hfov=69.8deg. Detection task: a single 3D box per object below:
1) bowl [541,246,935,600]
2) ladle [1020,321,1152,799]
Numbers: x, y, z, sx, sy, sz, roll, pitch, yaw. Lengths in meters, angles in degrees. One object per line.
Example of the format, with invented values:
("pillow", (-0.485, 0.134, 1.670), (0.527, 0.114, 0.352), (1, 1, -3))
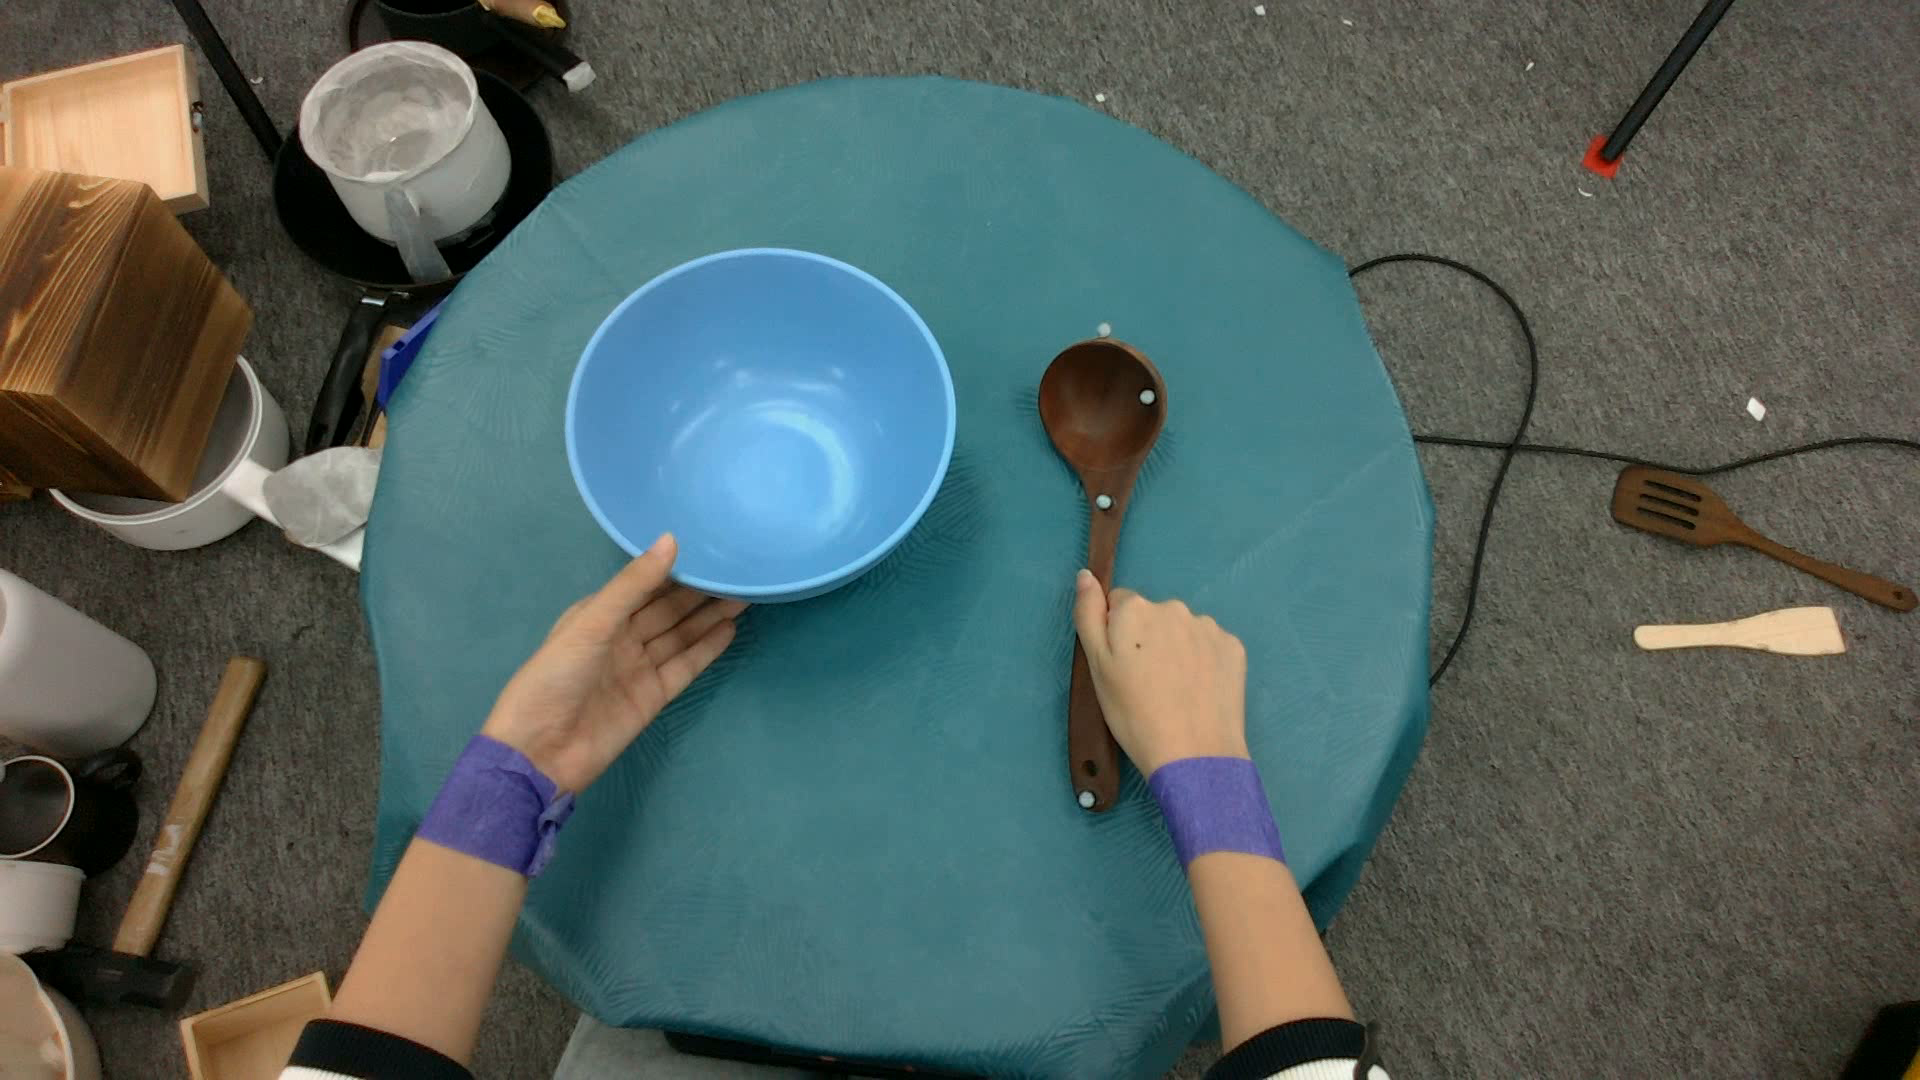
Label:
("bowl", (-0.116, -0.049, 0.734), (0.196, 0.095, 0.197), (4, 65, -8))
("ladle", (0.062, 0.005, 0.741), (0.076, 0.065, 0.261), (-6, 65, 29))
